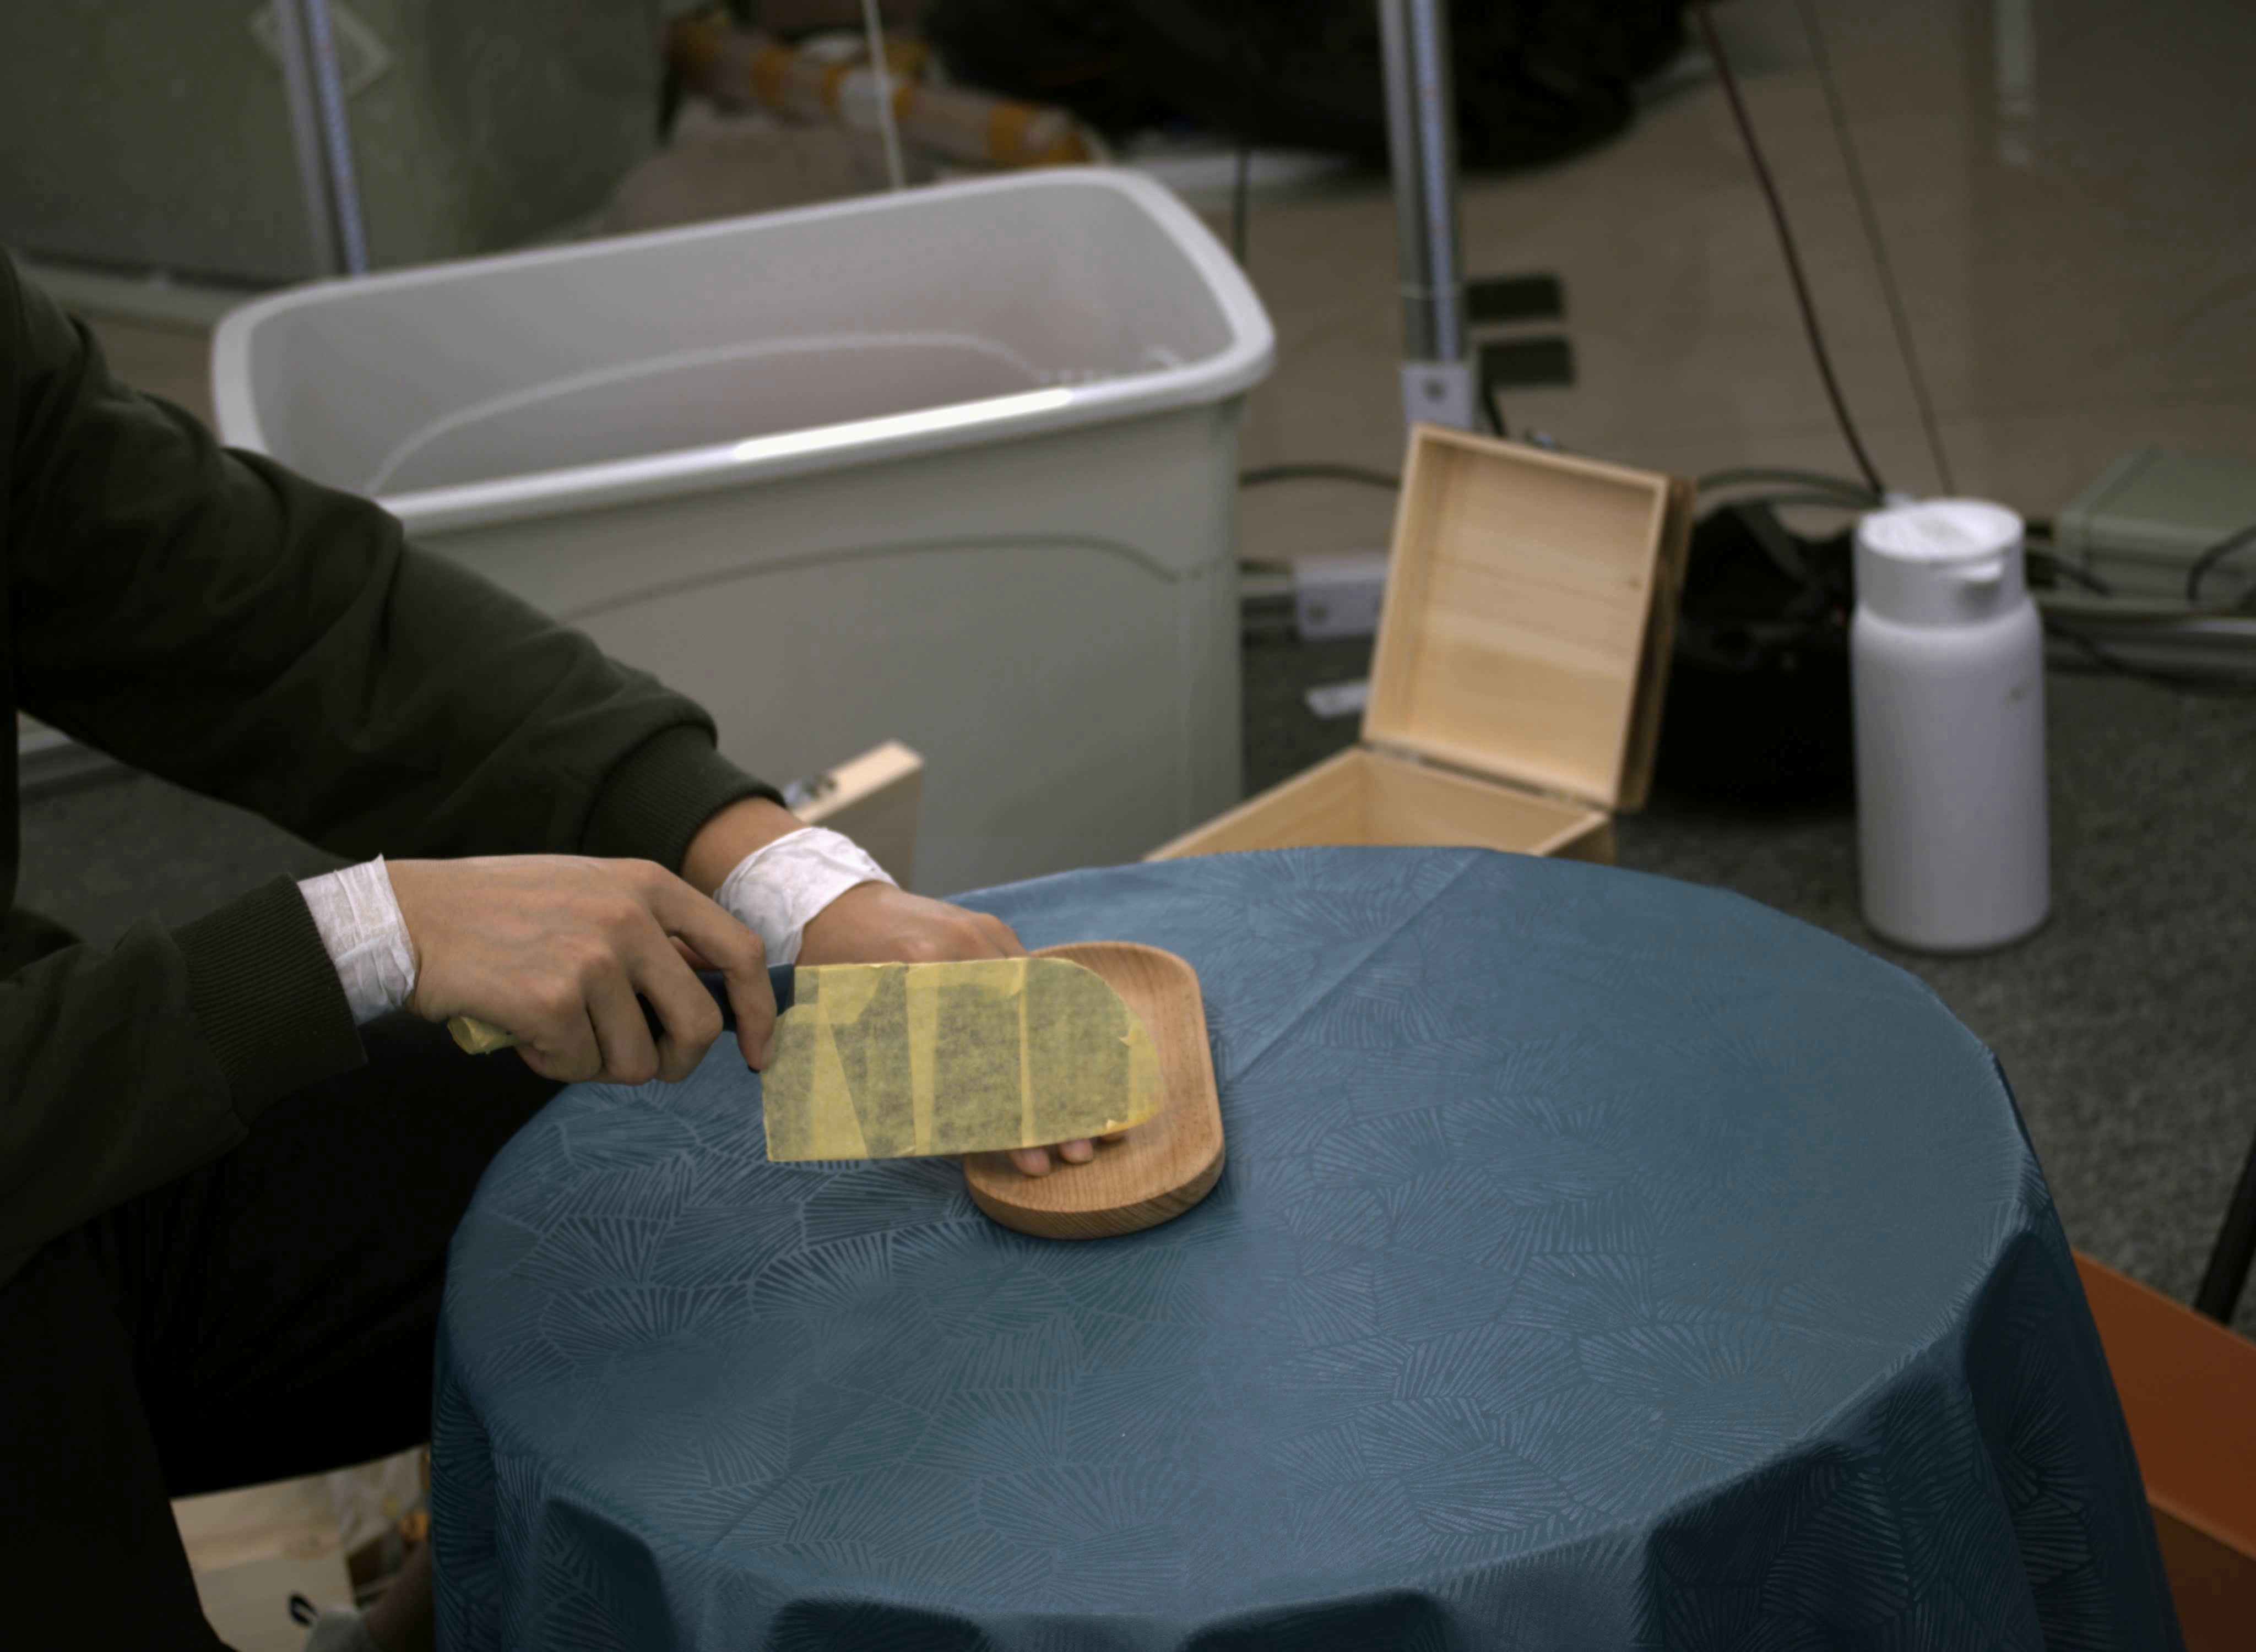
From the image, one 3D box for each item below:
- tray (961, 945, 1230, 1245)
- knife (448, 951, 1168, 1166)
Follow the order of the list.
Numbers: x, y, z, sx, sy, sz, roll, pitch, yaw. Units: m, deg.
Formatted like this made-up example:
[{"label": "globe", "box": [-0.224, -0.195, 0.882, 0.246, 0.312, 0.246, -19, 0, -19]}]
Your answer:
[{"label": "tray", "box": [-0.015, 0.103, 2.215, 0.101, 0.020, 0.227, -8, 26, 0]}, {"label": "knife", "box": [-0.115, 0.086, 2.112, 0.289, 0.081, 0.027, 1, -2, -25]}]
